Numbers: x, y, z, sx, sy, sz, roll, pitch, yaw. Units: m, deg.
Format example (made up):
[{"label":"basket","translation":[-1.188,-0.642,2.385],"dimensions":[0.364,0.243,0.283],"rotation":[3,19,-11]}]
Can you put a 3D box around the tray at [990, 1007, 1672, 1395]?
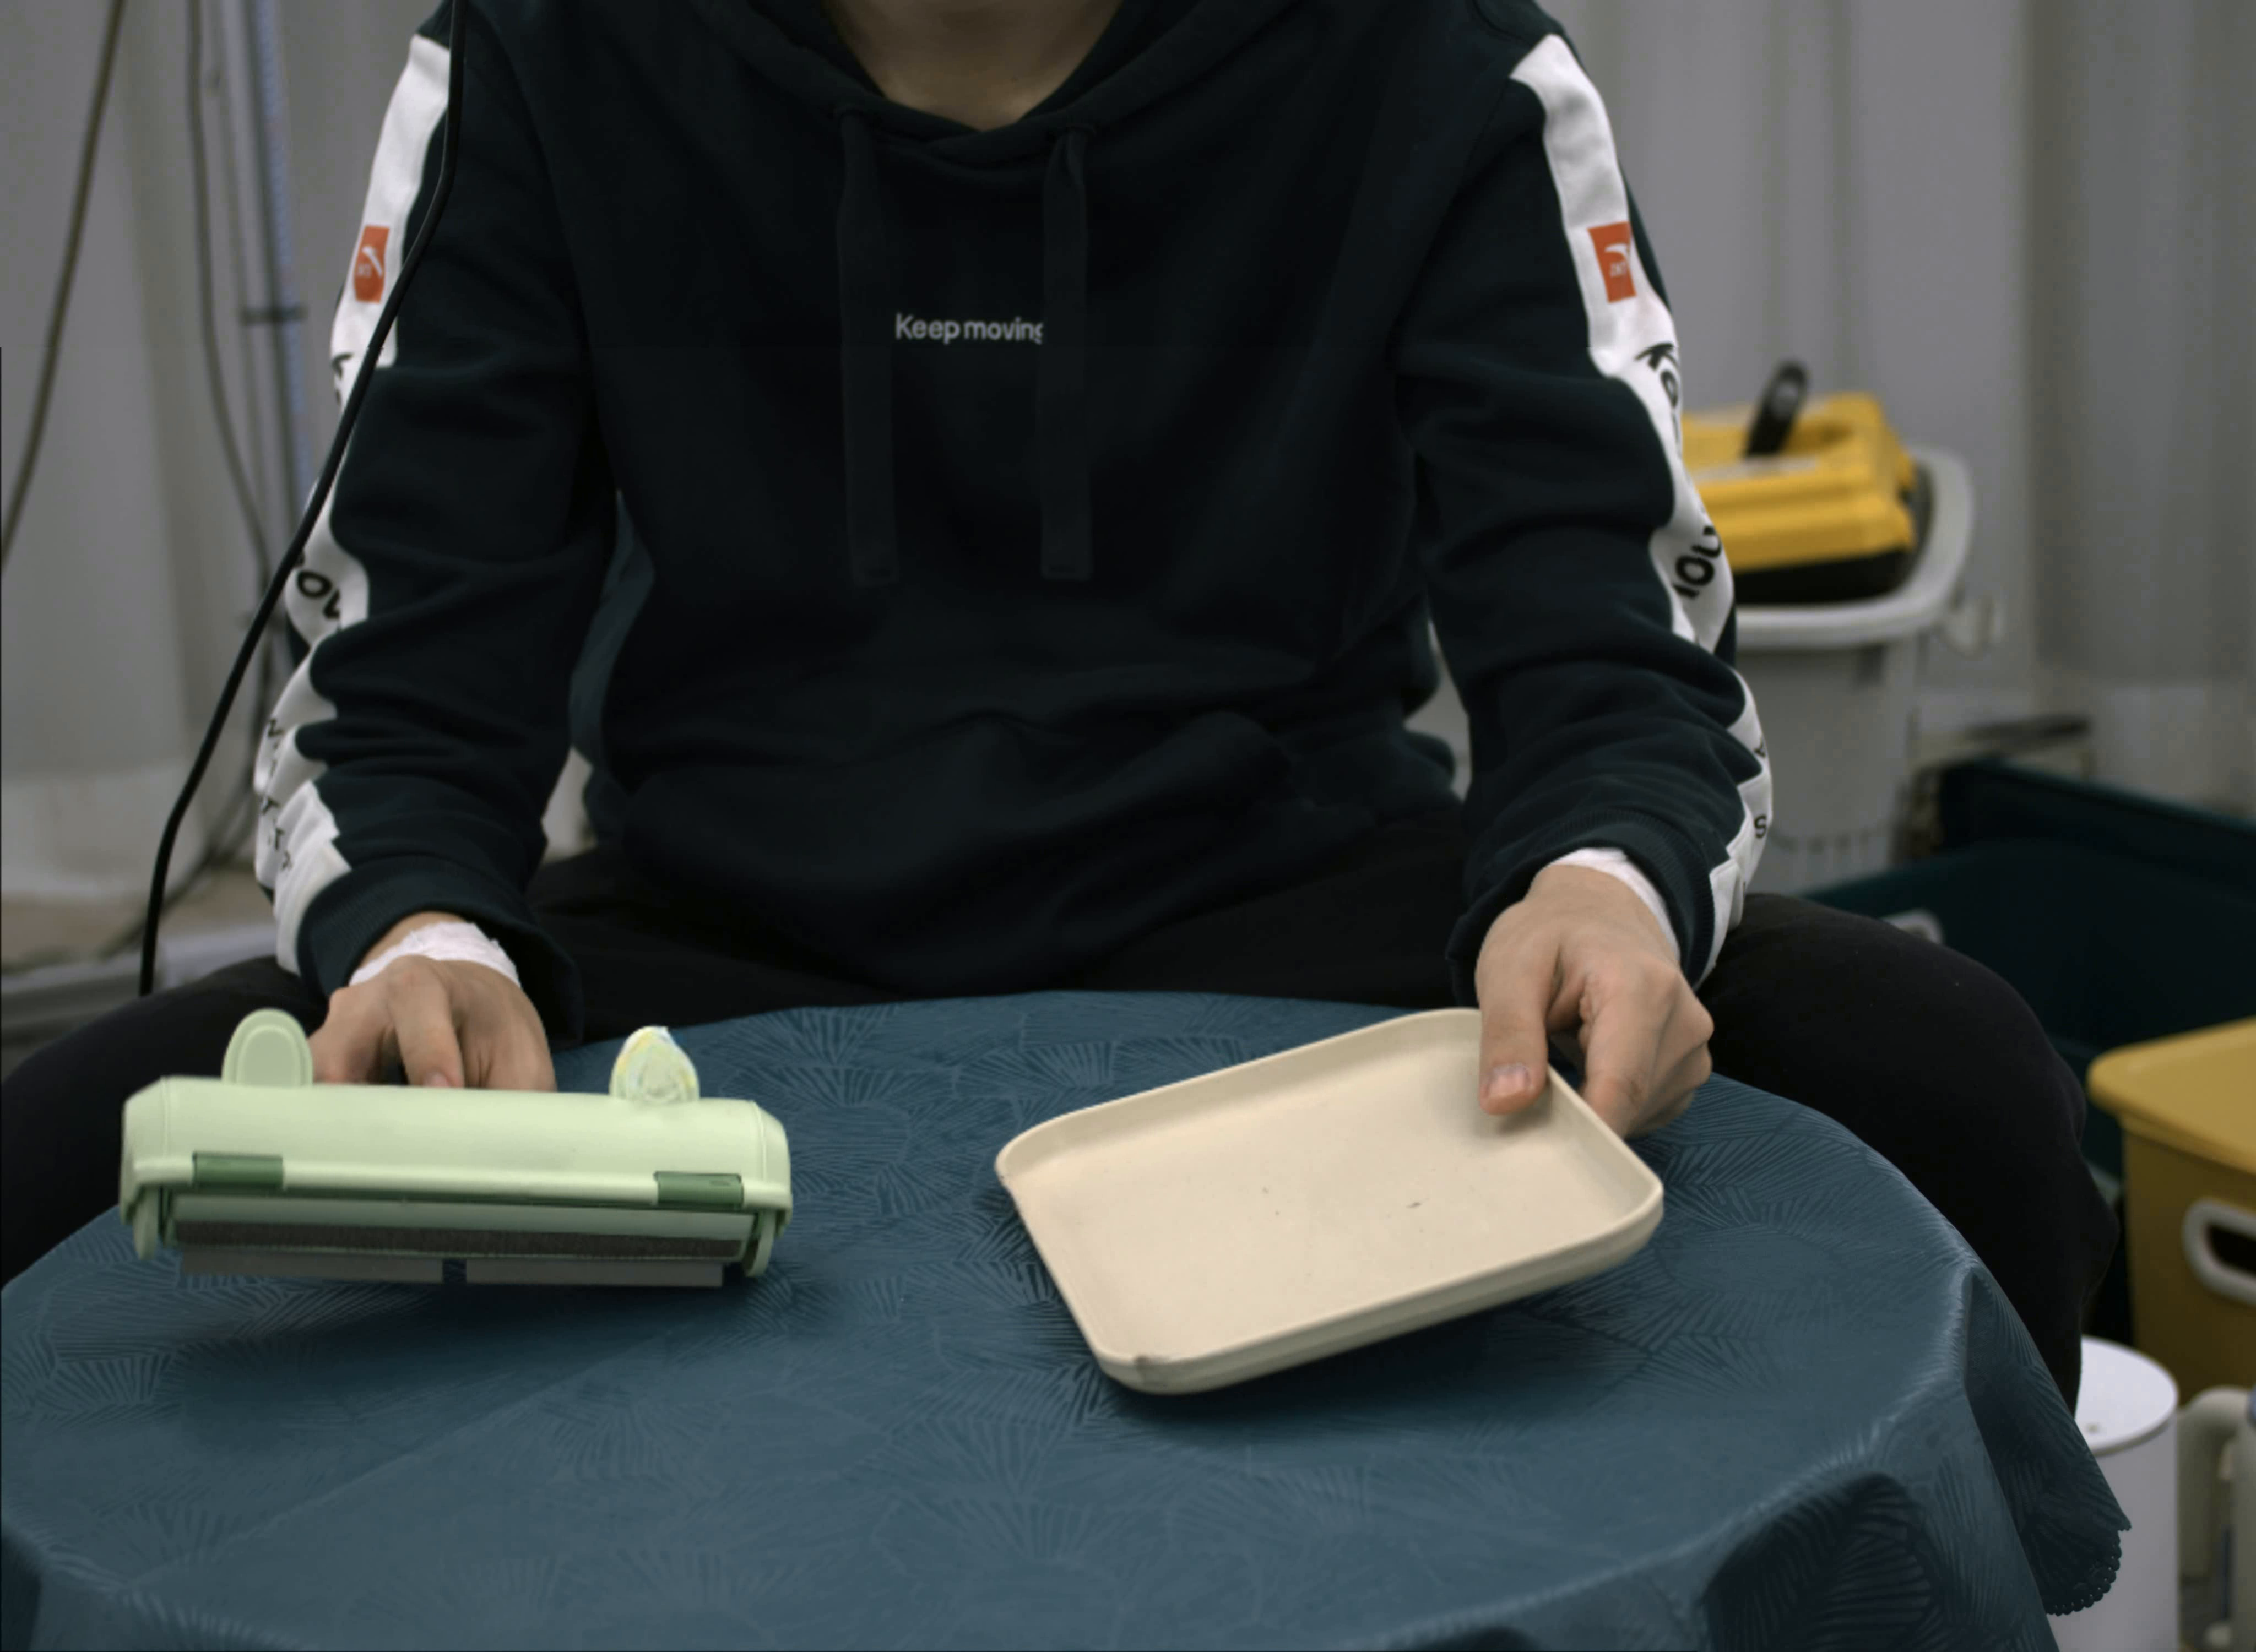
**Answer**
[{"label":"tray","translation":[0.057,0.110,1.628],"dimensions":[0.171,0.017,0.241],"rotation":[-16,15,-7]}]

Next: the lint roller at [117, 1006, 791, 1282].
[{"label":"lint roller","translation":[-0.211,0.084,1.680],"dimensions":[0.197,0.082,0.185],"rotation":[4,14,-13]}]
